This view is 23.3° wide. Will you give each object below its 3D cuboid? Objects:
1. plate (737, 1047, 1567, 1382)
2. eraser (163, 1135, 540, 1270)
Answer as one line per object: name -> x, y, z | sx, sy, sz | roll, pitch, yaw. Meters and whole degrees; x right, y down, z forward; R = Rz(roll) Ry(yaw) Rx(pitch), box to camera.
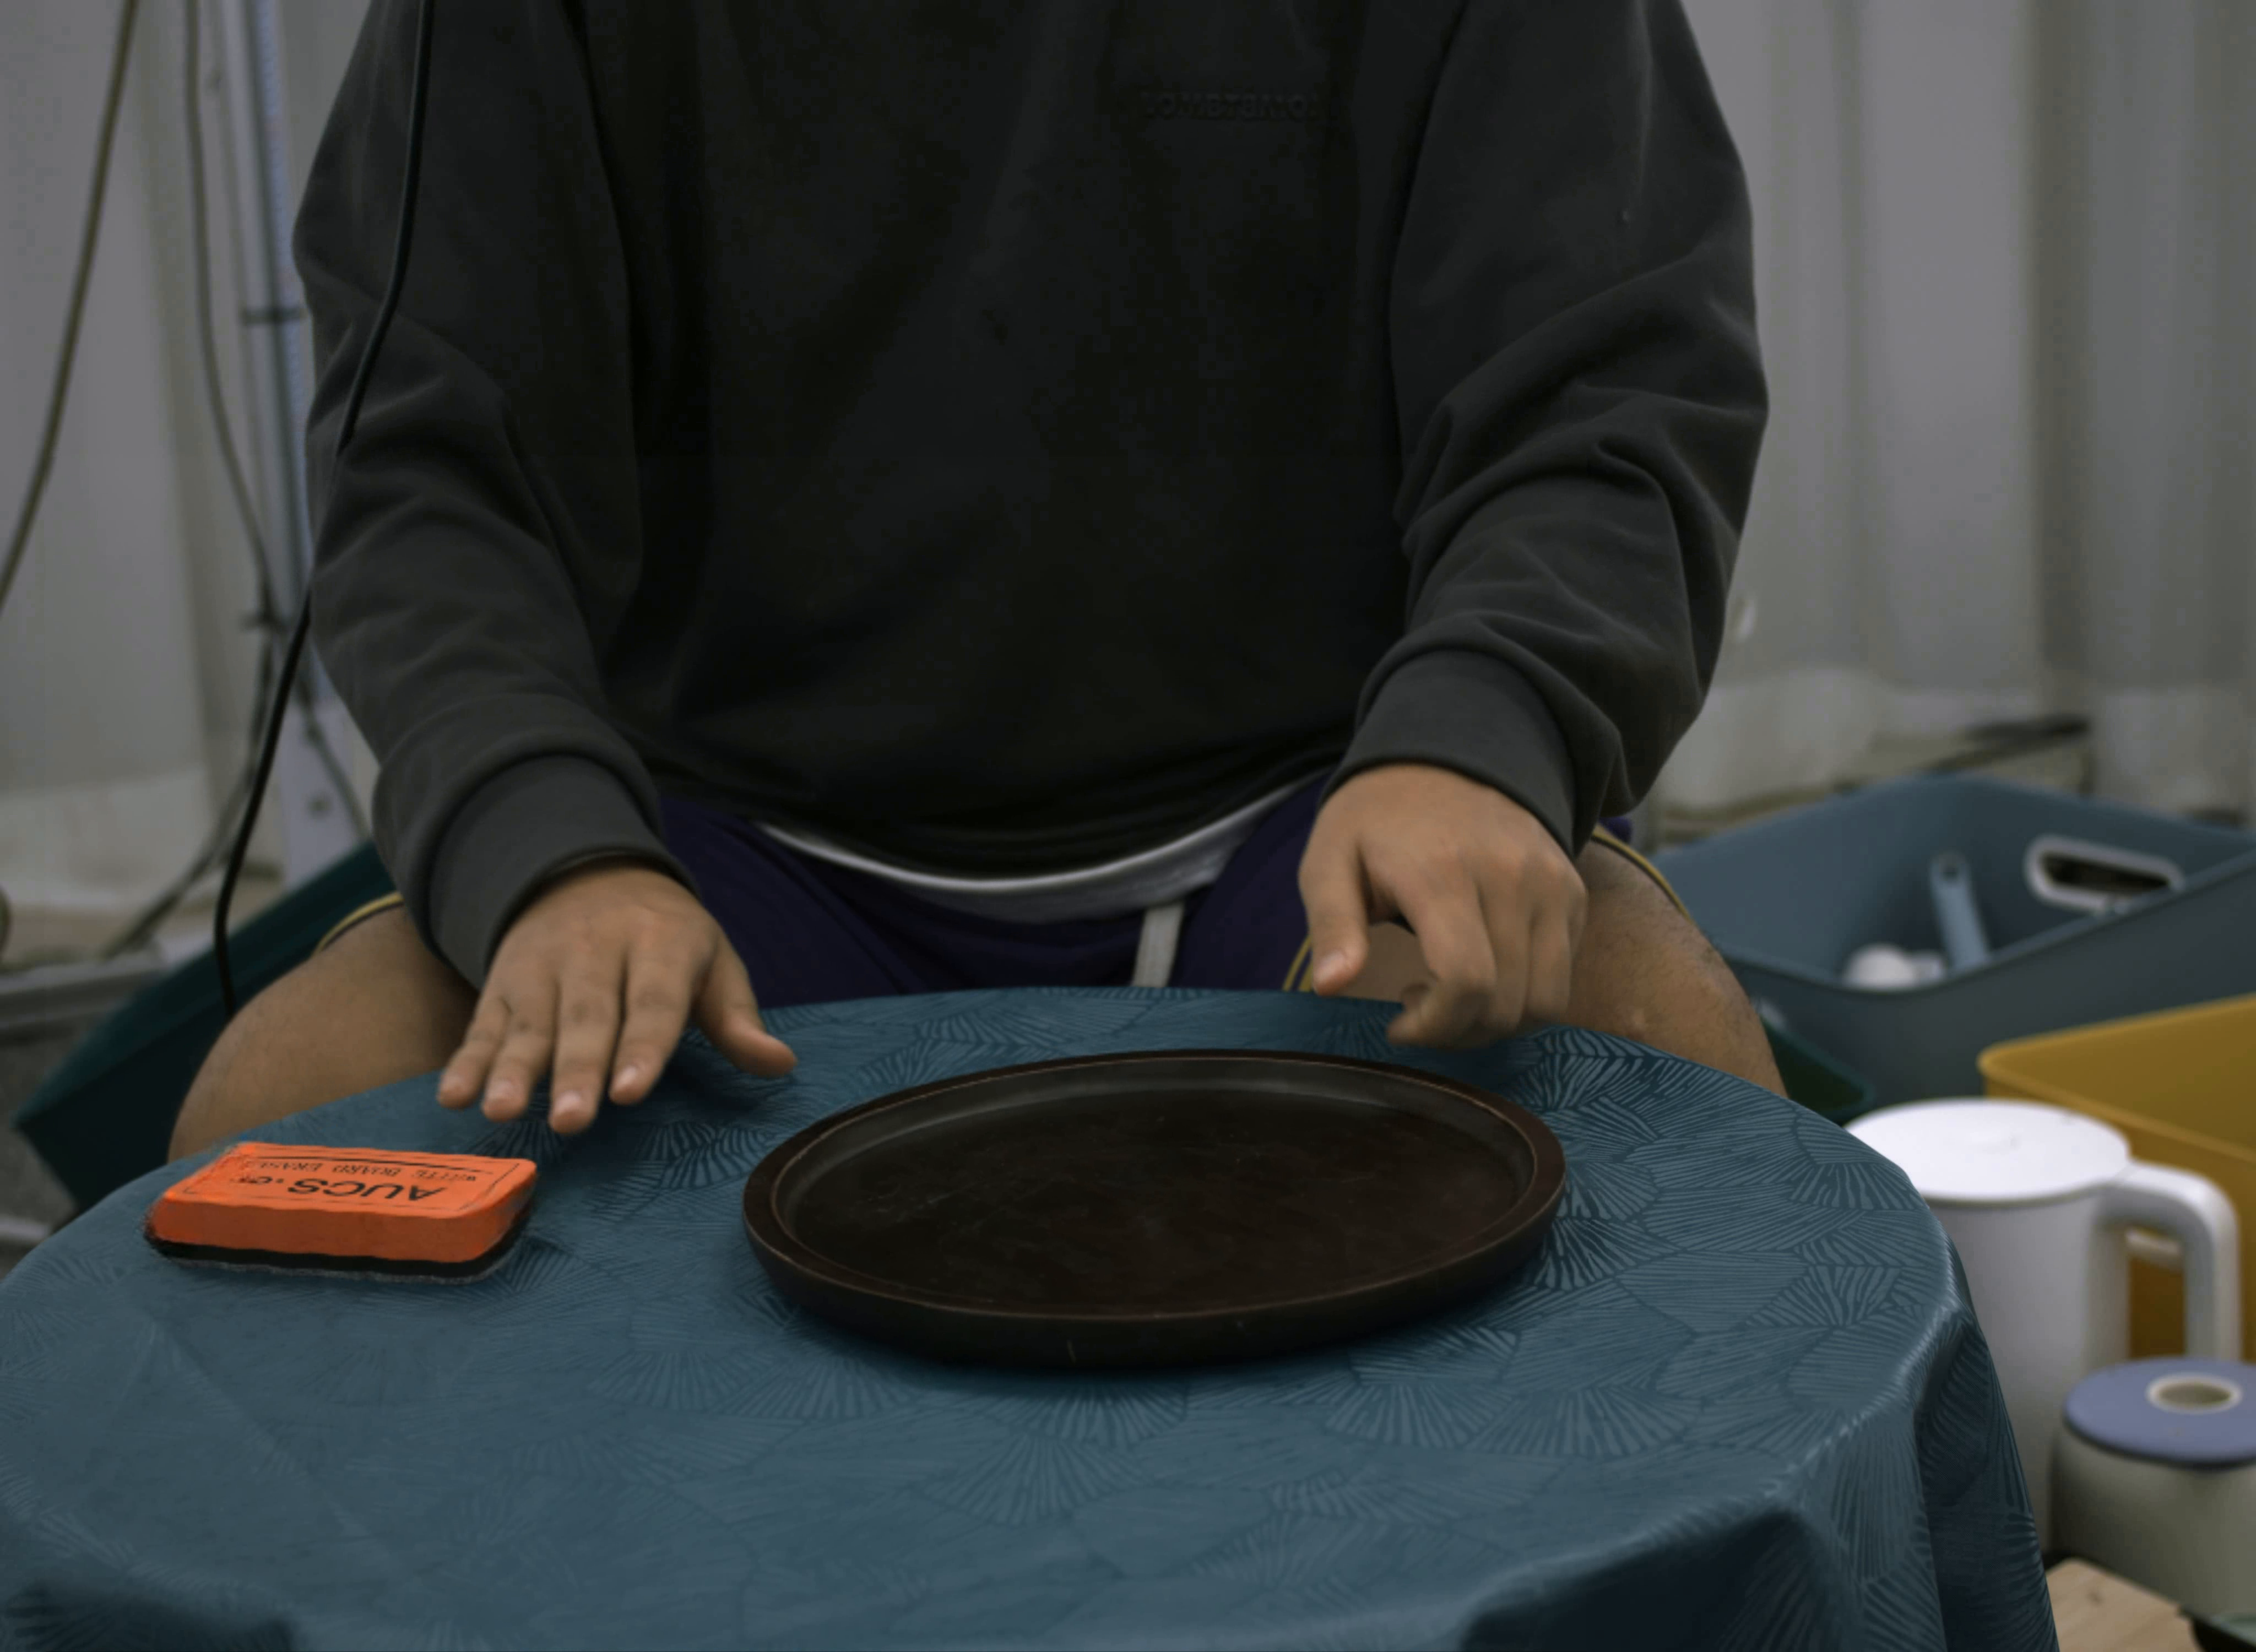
plate -> 0.008, 0.116, 1.668 | 0.254, 0.029, 0.256 | -4, 15, 1
eraser -> -0.240, 0.117, 1.697 | 0.108, 0.023, 0.059 | 1, 15, 19
